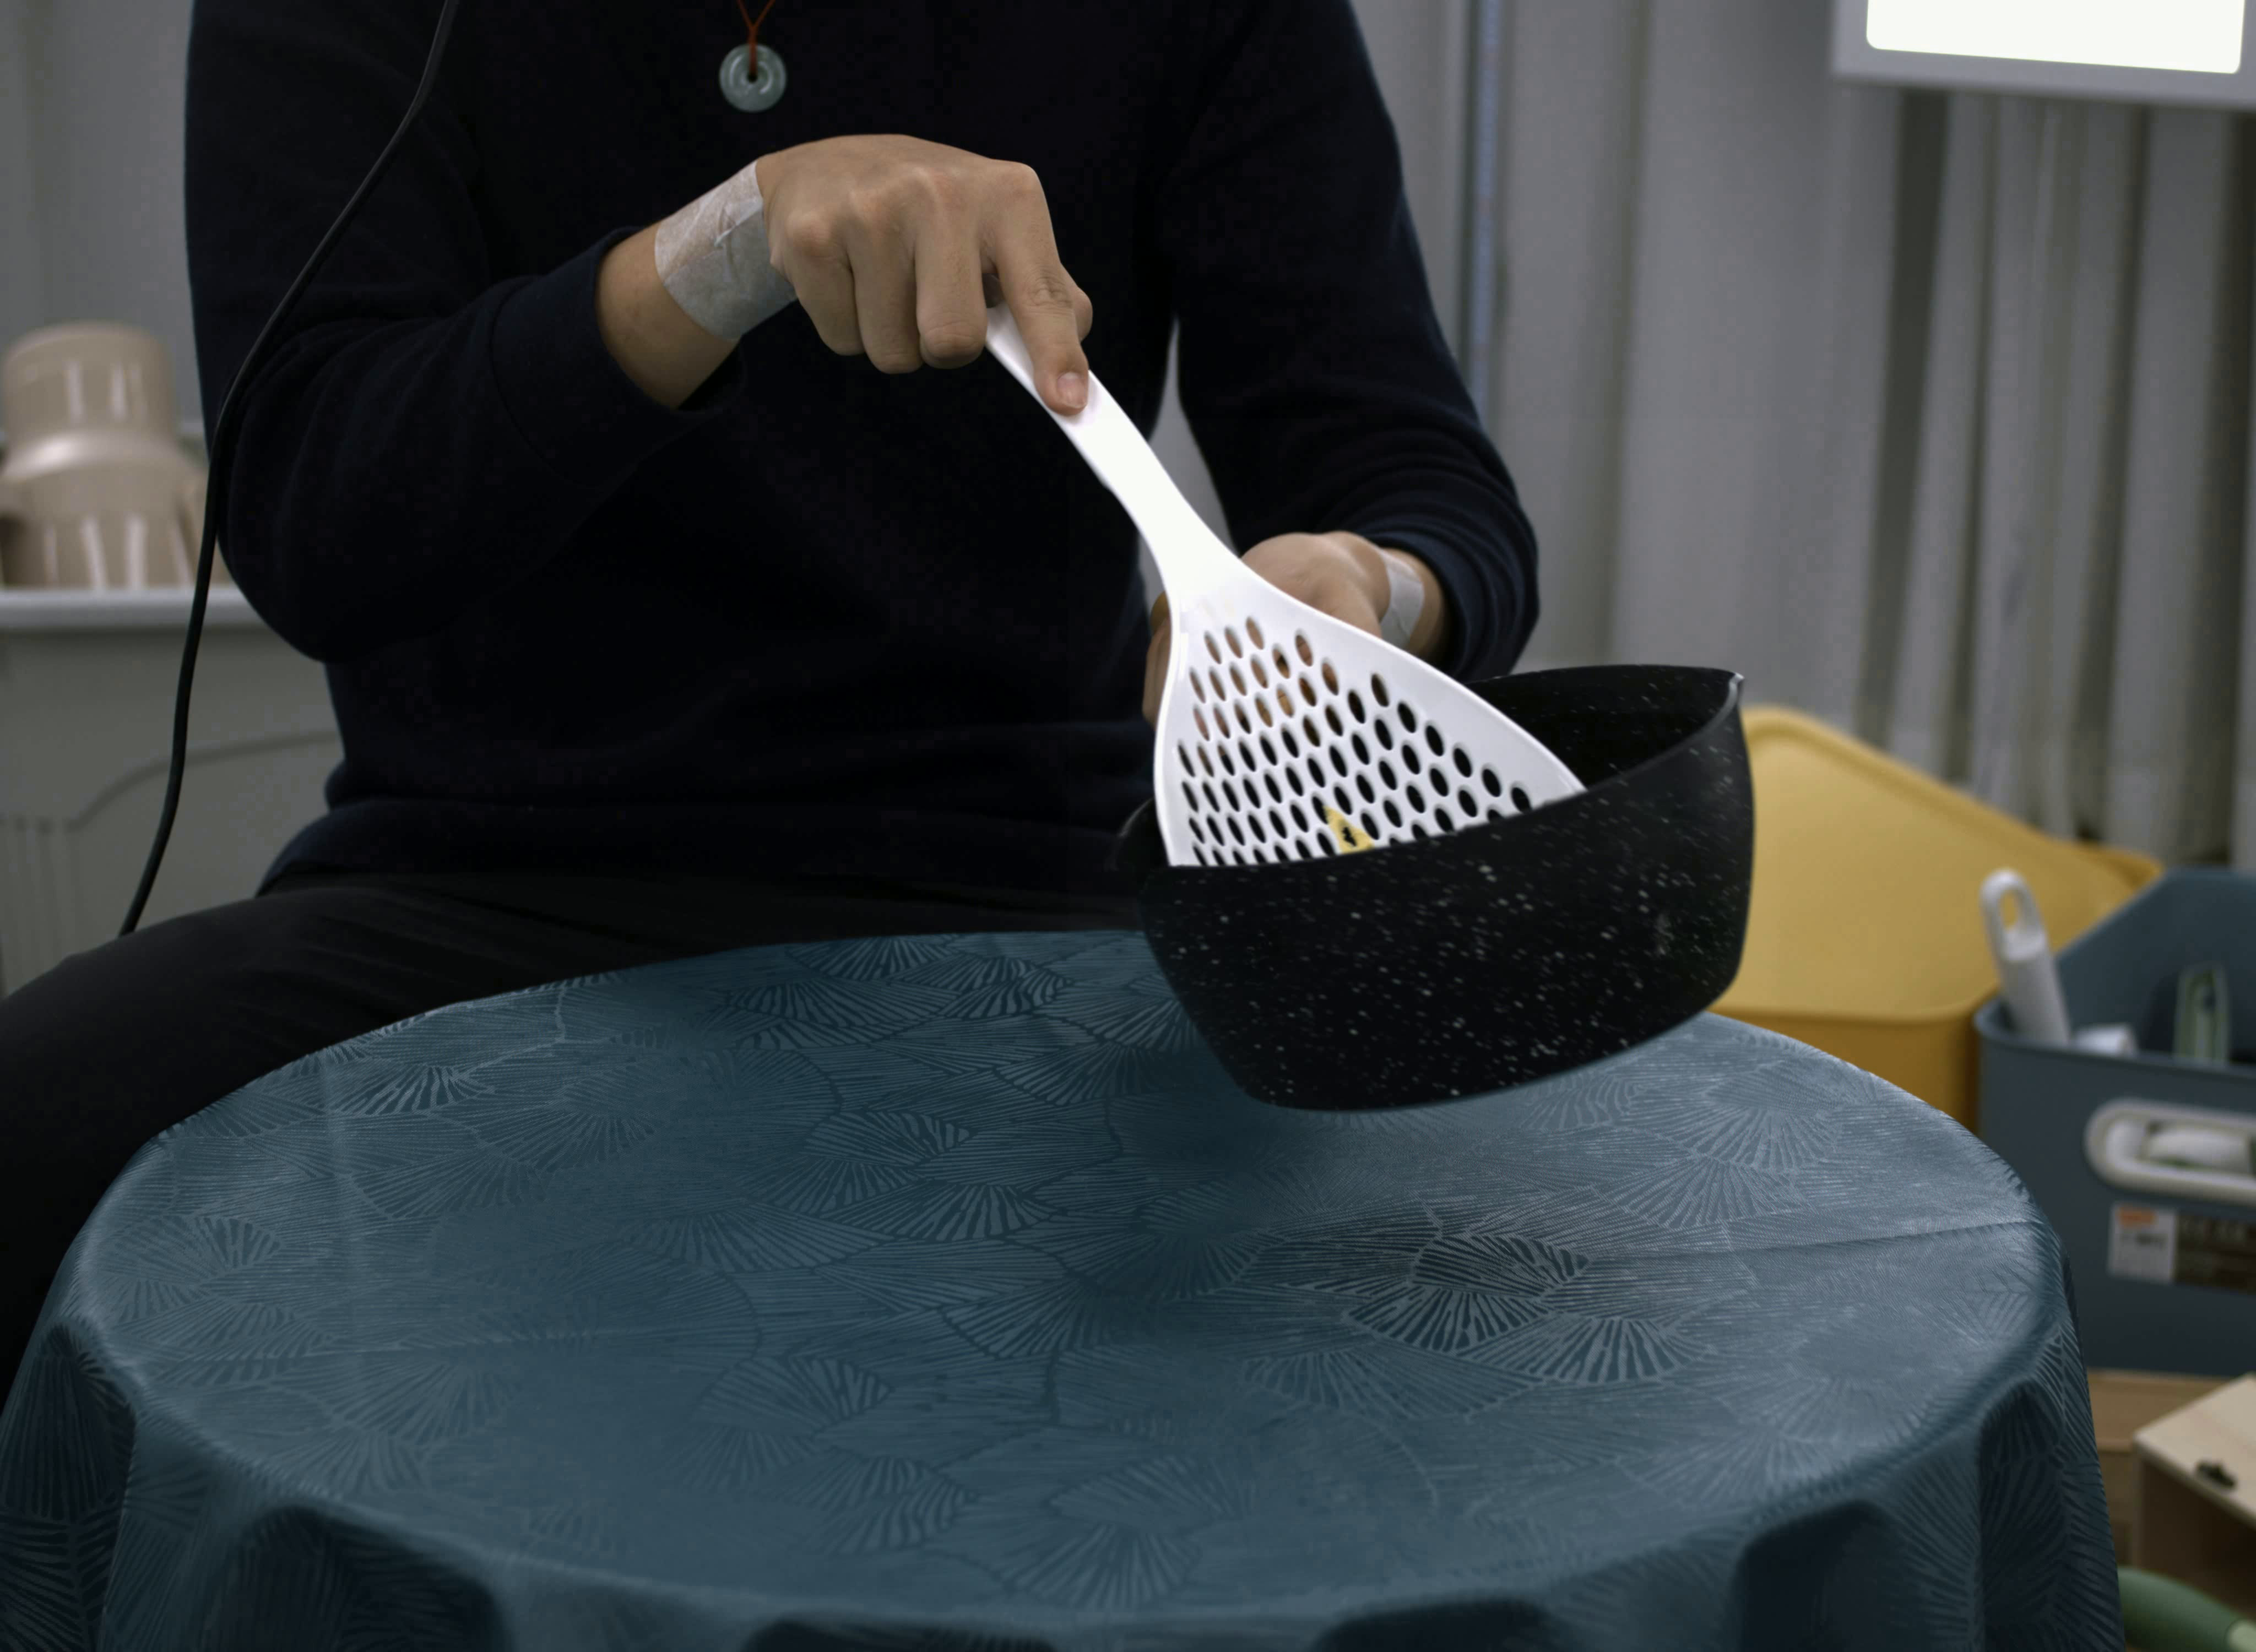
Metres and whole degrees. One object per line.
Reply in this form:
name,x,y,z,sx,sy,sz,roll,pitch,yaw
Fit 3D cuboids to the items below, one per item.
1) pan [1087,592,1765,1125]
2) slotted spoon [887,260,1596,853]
pan,0.073,-0.004,1.612,0.207,0.109,0.339,-18,15,-13
slotted spoon,0.025,-0.065,1.615,0.137,0.050,0.345,-23,65,-23
